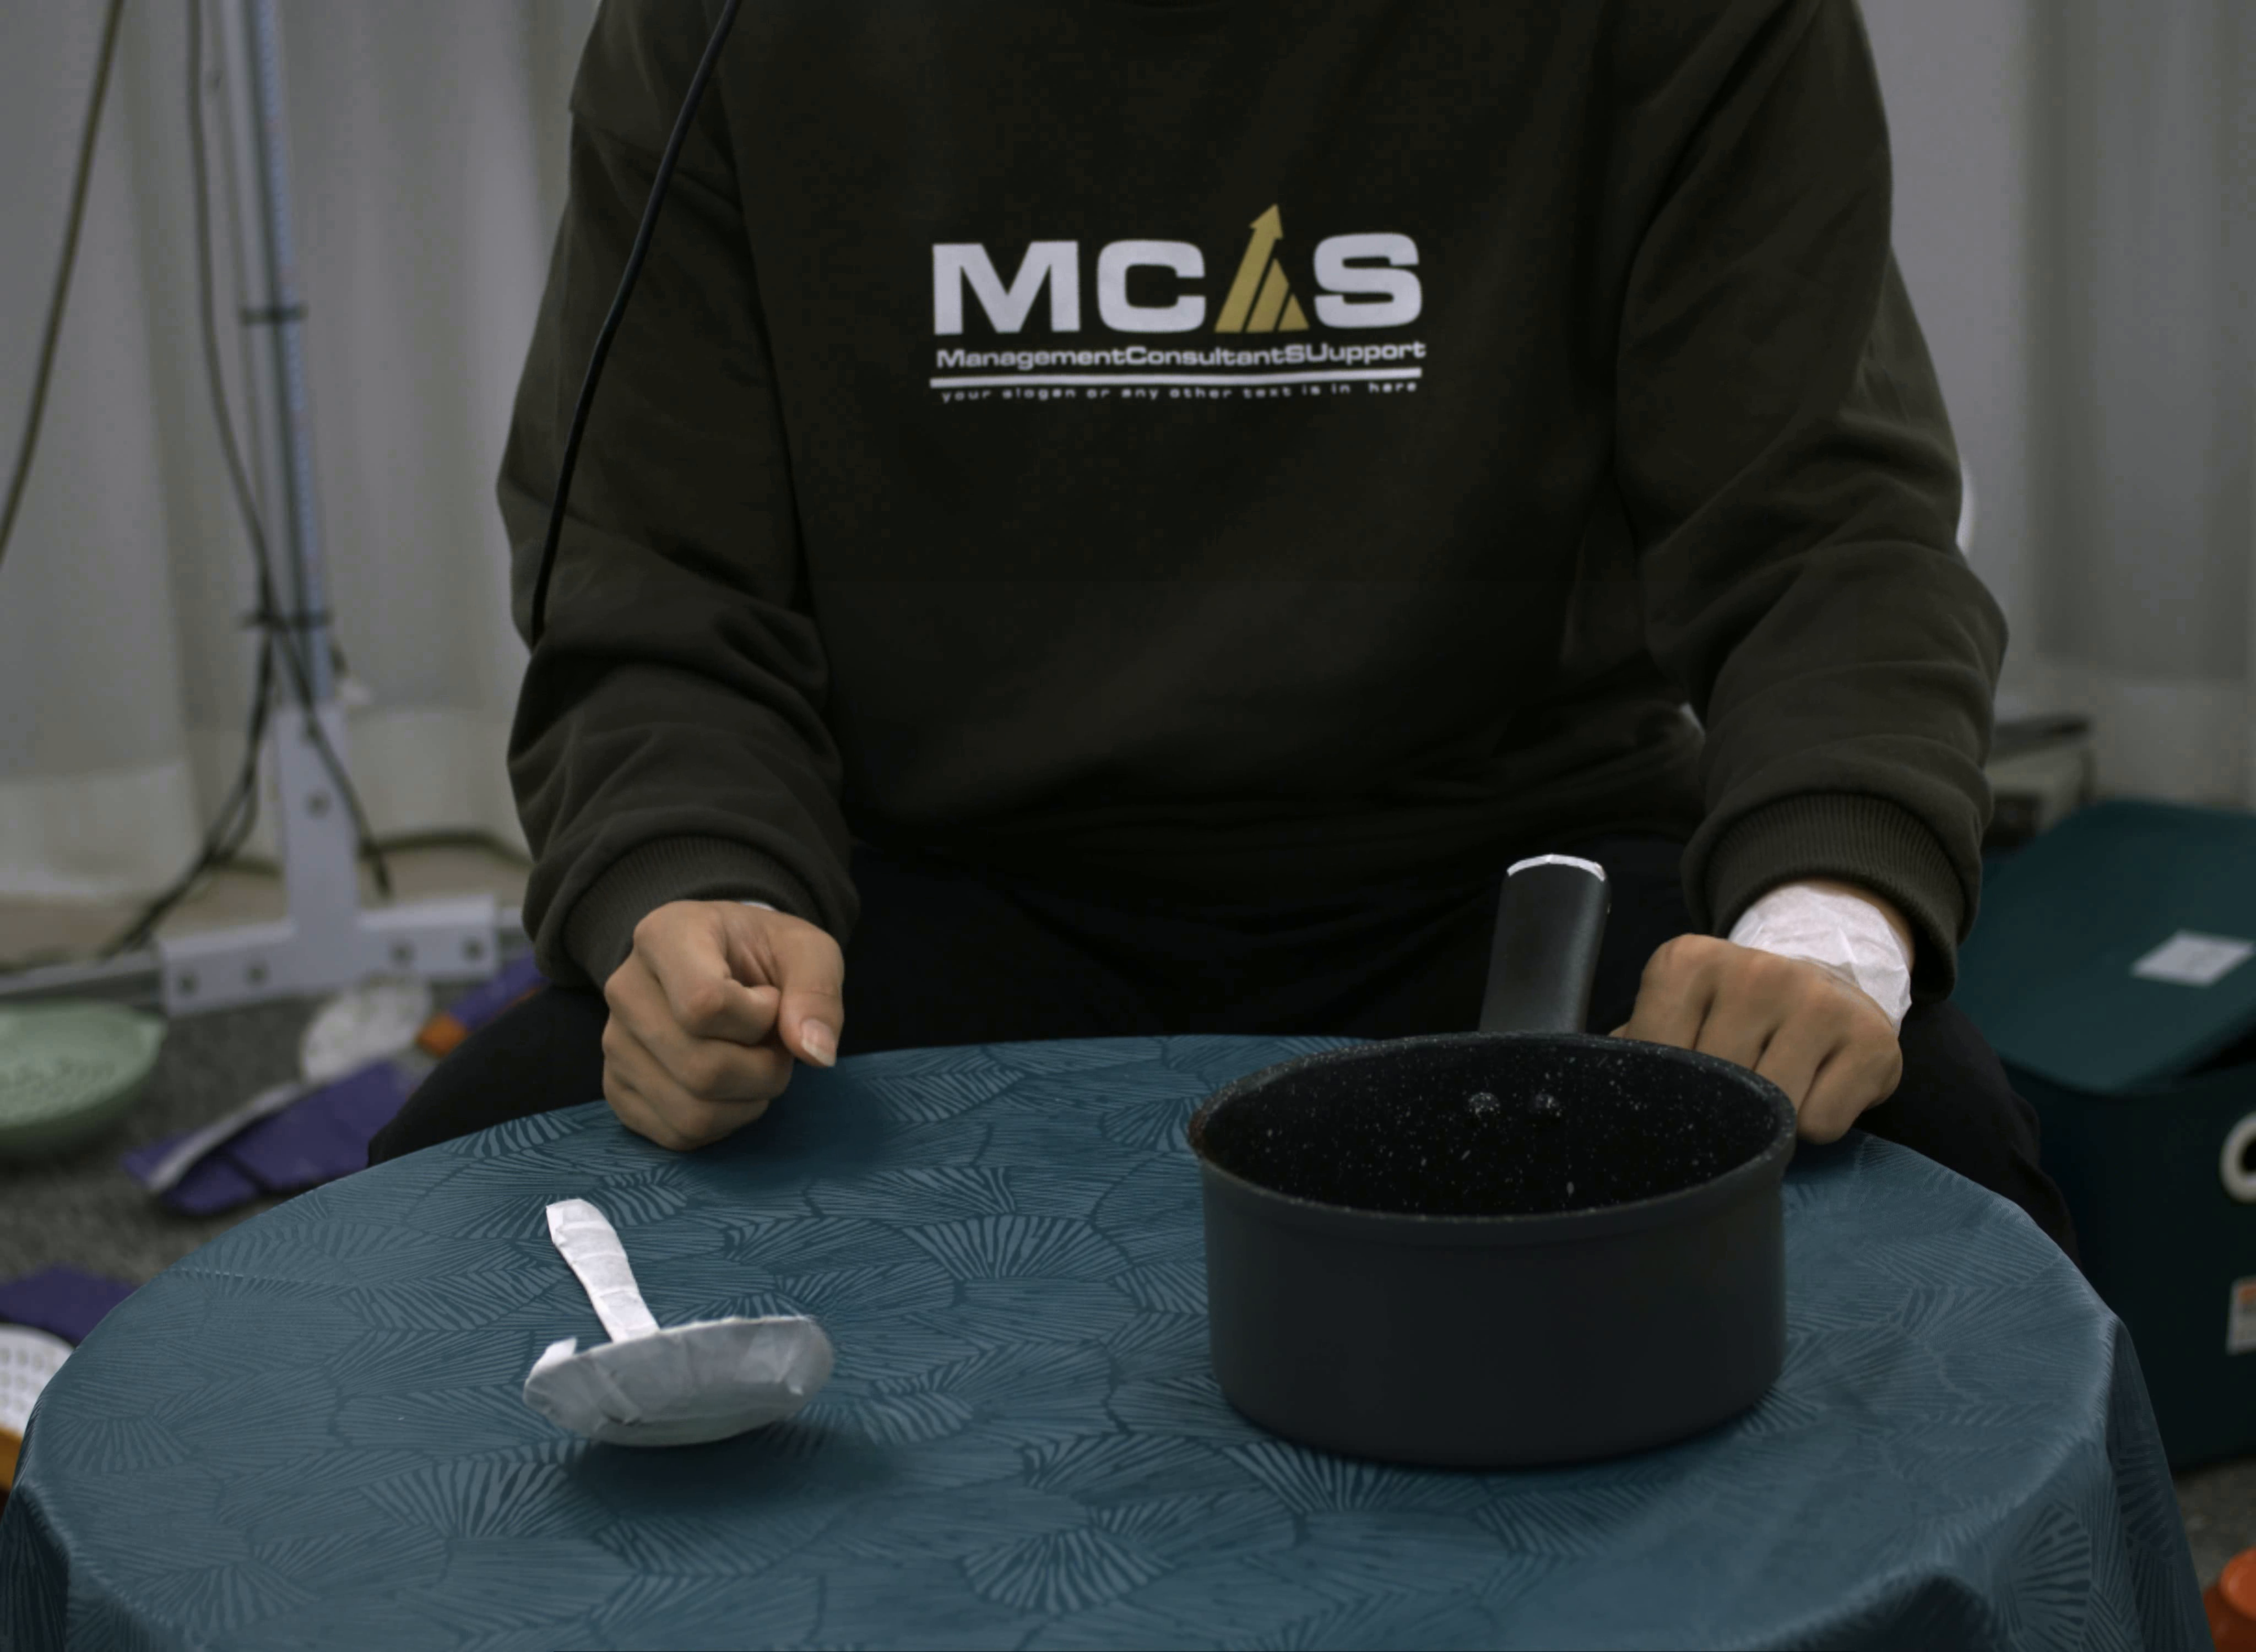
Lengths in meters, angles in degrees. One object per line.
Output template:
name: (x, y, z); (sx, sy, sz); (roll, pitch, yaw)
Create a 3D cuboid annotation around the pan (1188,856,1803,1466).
pan: (0.119, 0.094, 1.610); (0.172, 0.086, 0.330); (2, 16, 12)

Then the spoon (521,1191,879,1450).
spoon: (-0.134, 0.126, 1.595); (0.100, 0.059, 0.279); (-3, 14, -10)
